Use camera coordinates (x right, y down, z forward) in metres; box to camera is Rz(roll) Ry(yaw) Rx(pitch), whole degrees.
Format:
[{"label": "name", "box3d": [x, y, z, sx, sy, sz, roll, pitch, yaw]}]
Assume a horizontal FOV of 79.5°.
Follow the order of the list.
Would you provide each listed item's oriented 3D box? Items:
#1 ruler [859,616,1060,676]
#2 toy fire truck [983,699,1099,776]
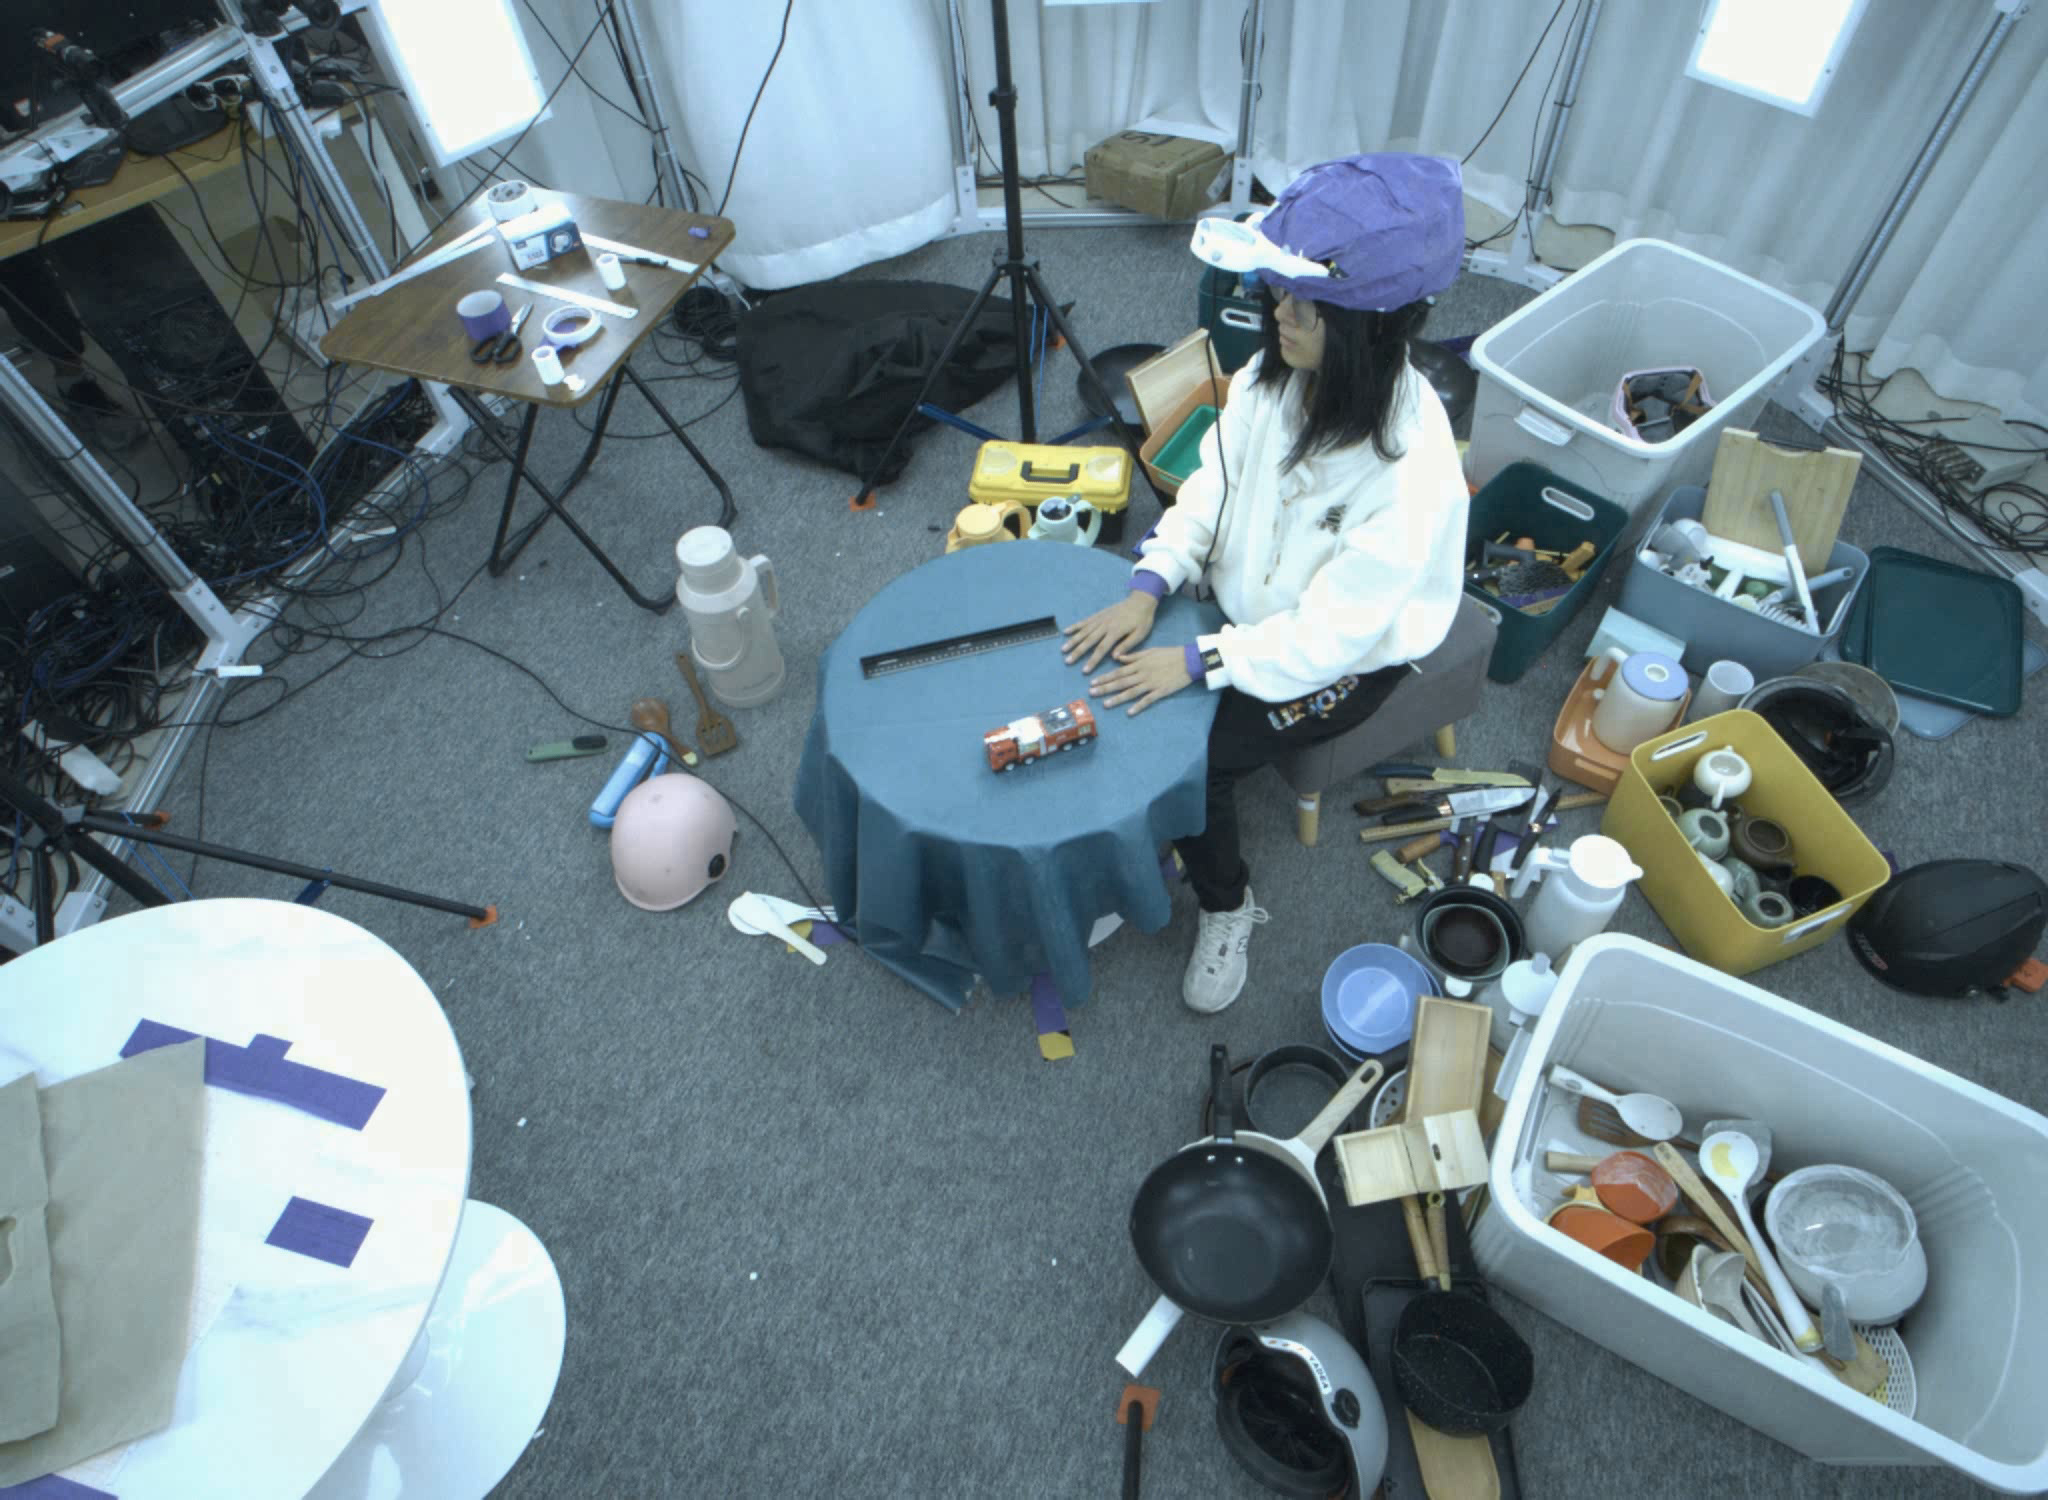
[{"label": "ruler", "box3d": [-0.101, -0.162, 1.896, 0.314, 0.017, 0.039, -12, 58, -7]}, {"label": "toy fire truck", "box3d": [0.022, -0.019, 1.765, 0.169, 0.071, 0.053, -18, 55, -12]}]
